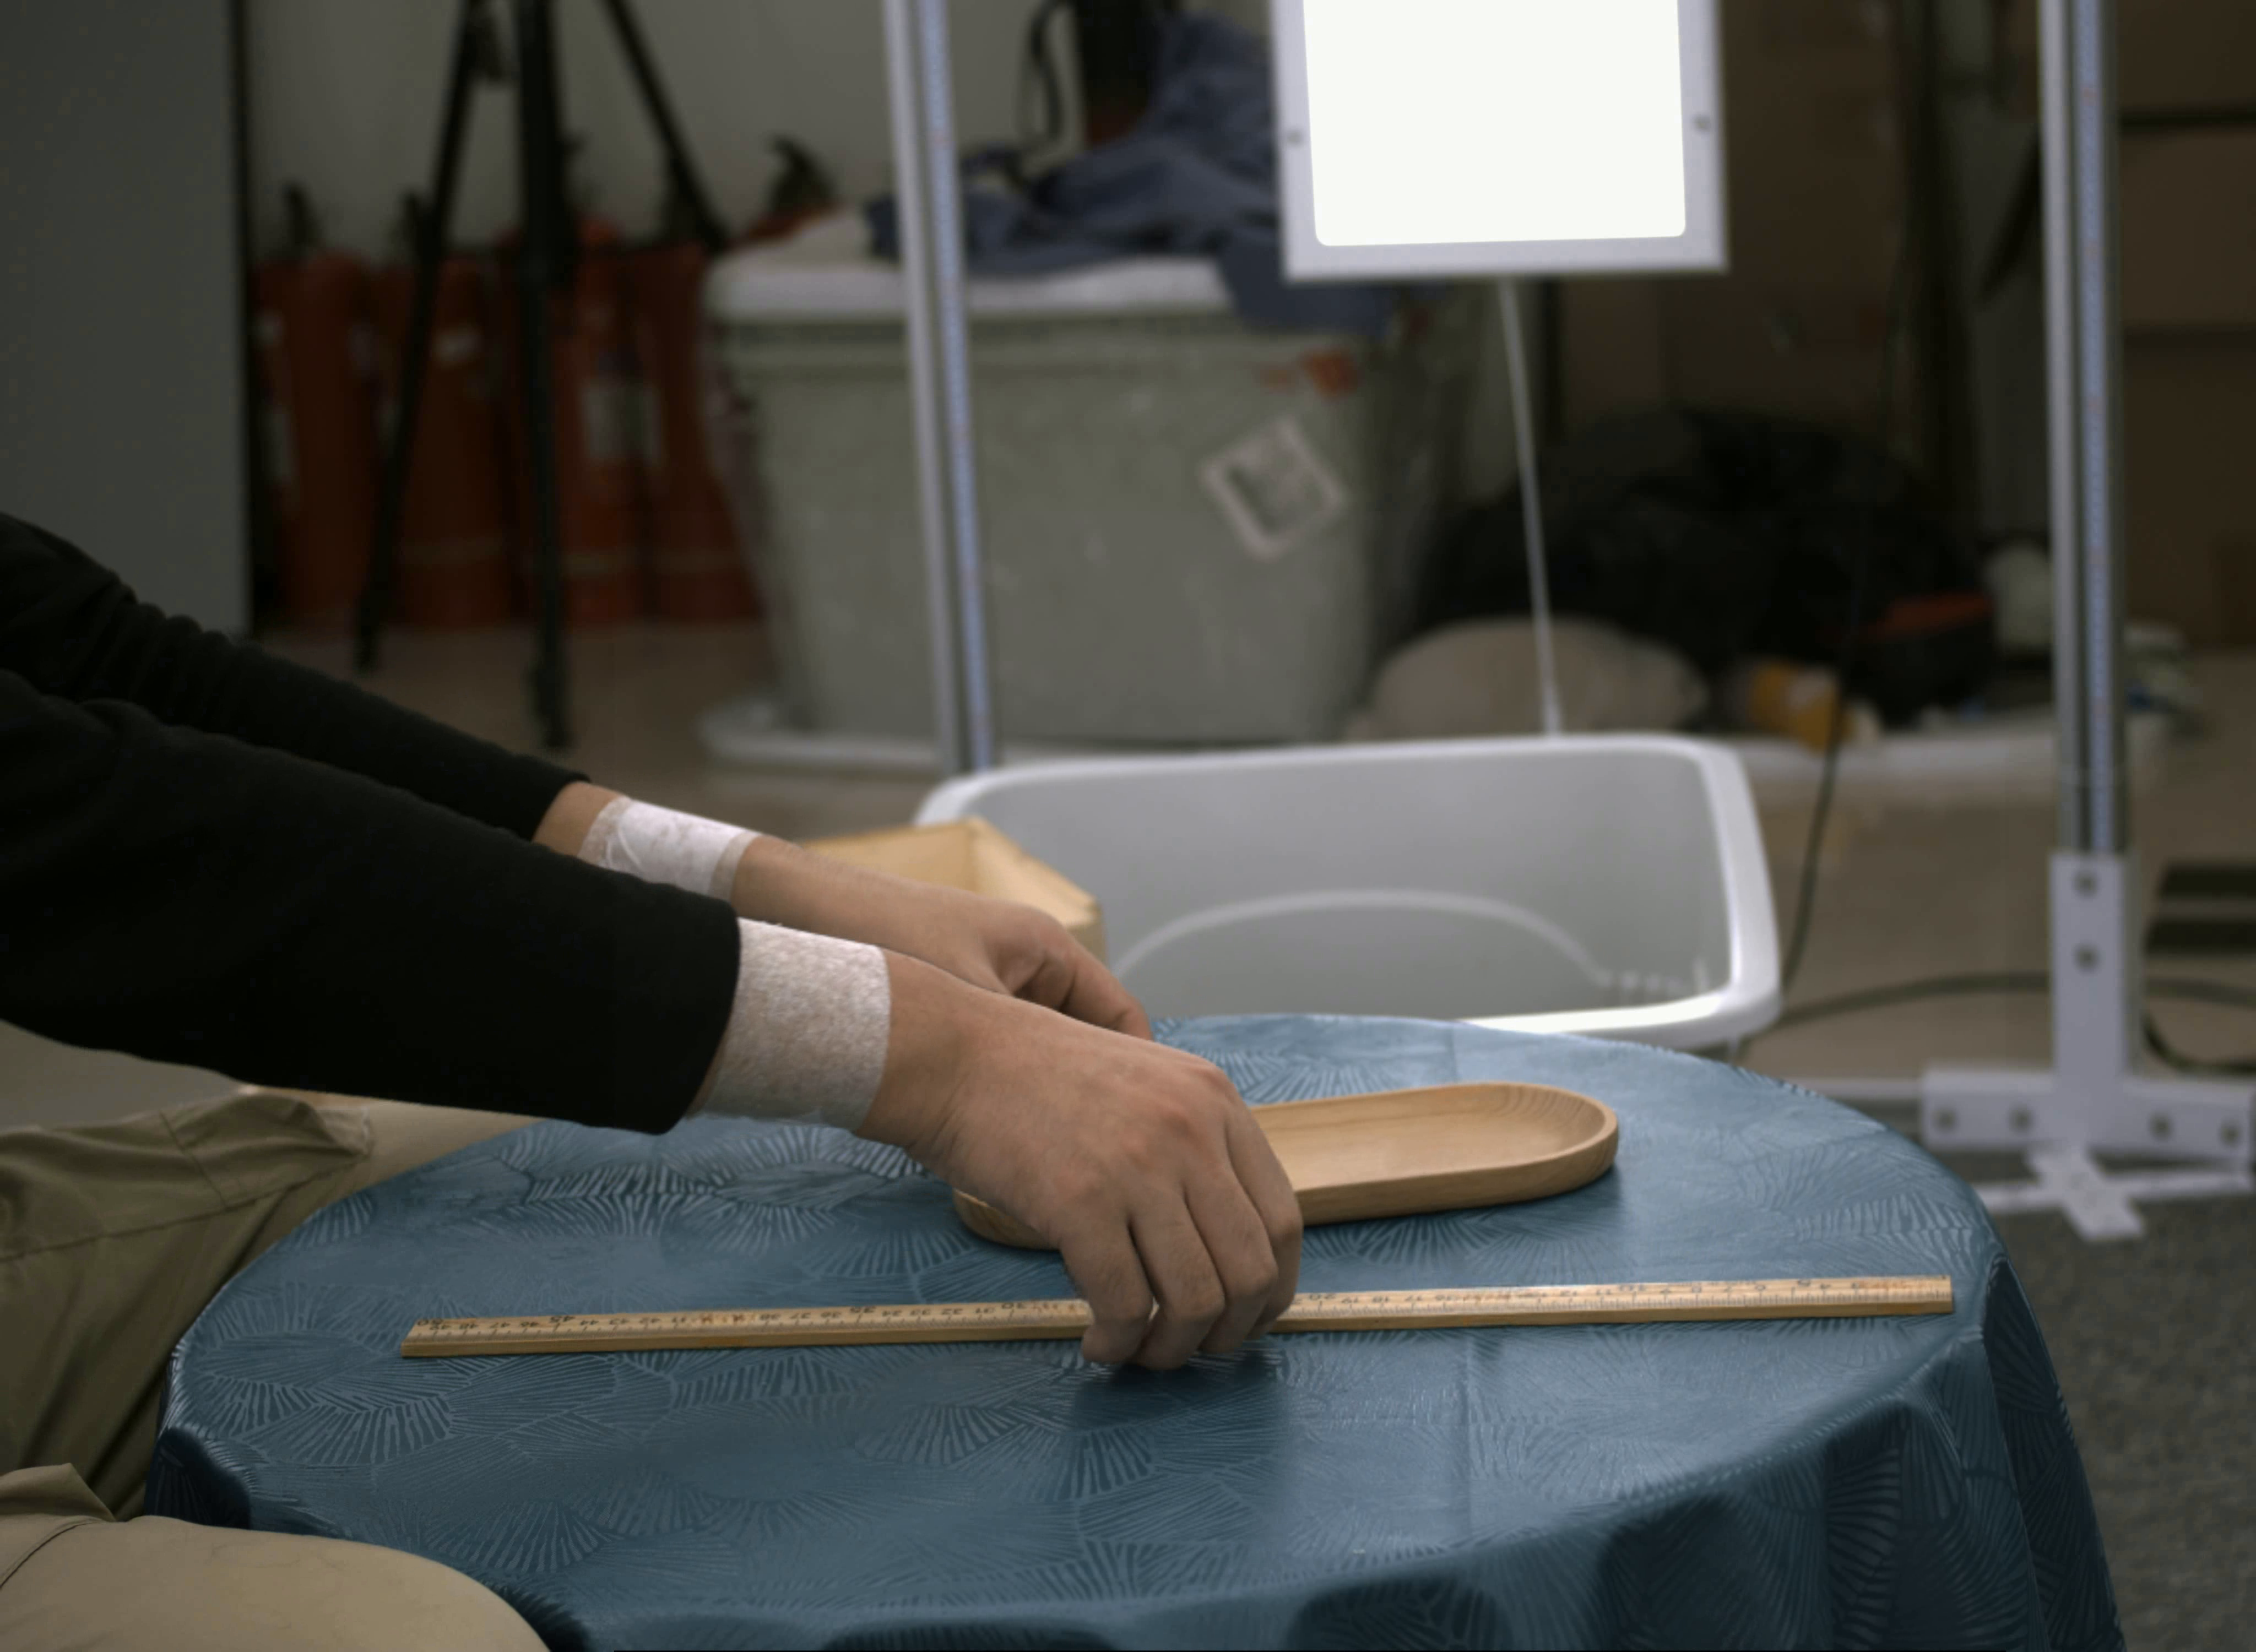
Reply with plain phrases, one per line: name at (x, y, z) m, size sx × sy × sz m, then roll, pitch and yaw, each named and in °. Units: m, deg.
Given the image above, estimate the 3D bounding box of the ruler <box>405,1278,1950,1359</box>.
ruler at (0.012, 0.157, 1.760) m, size 0.503 × 0.006 × 0.026 m, roll -3°, pitch 13°, yaw 11°

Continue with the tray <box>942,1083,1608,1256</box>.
tray at (0.051, 0.118, 1.882) m, size 0.229 × 0.020 × 0.102 m, roll -8°, pitch 12°, yaw -6°
